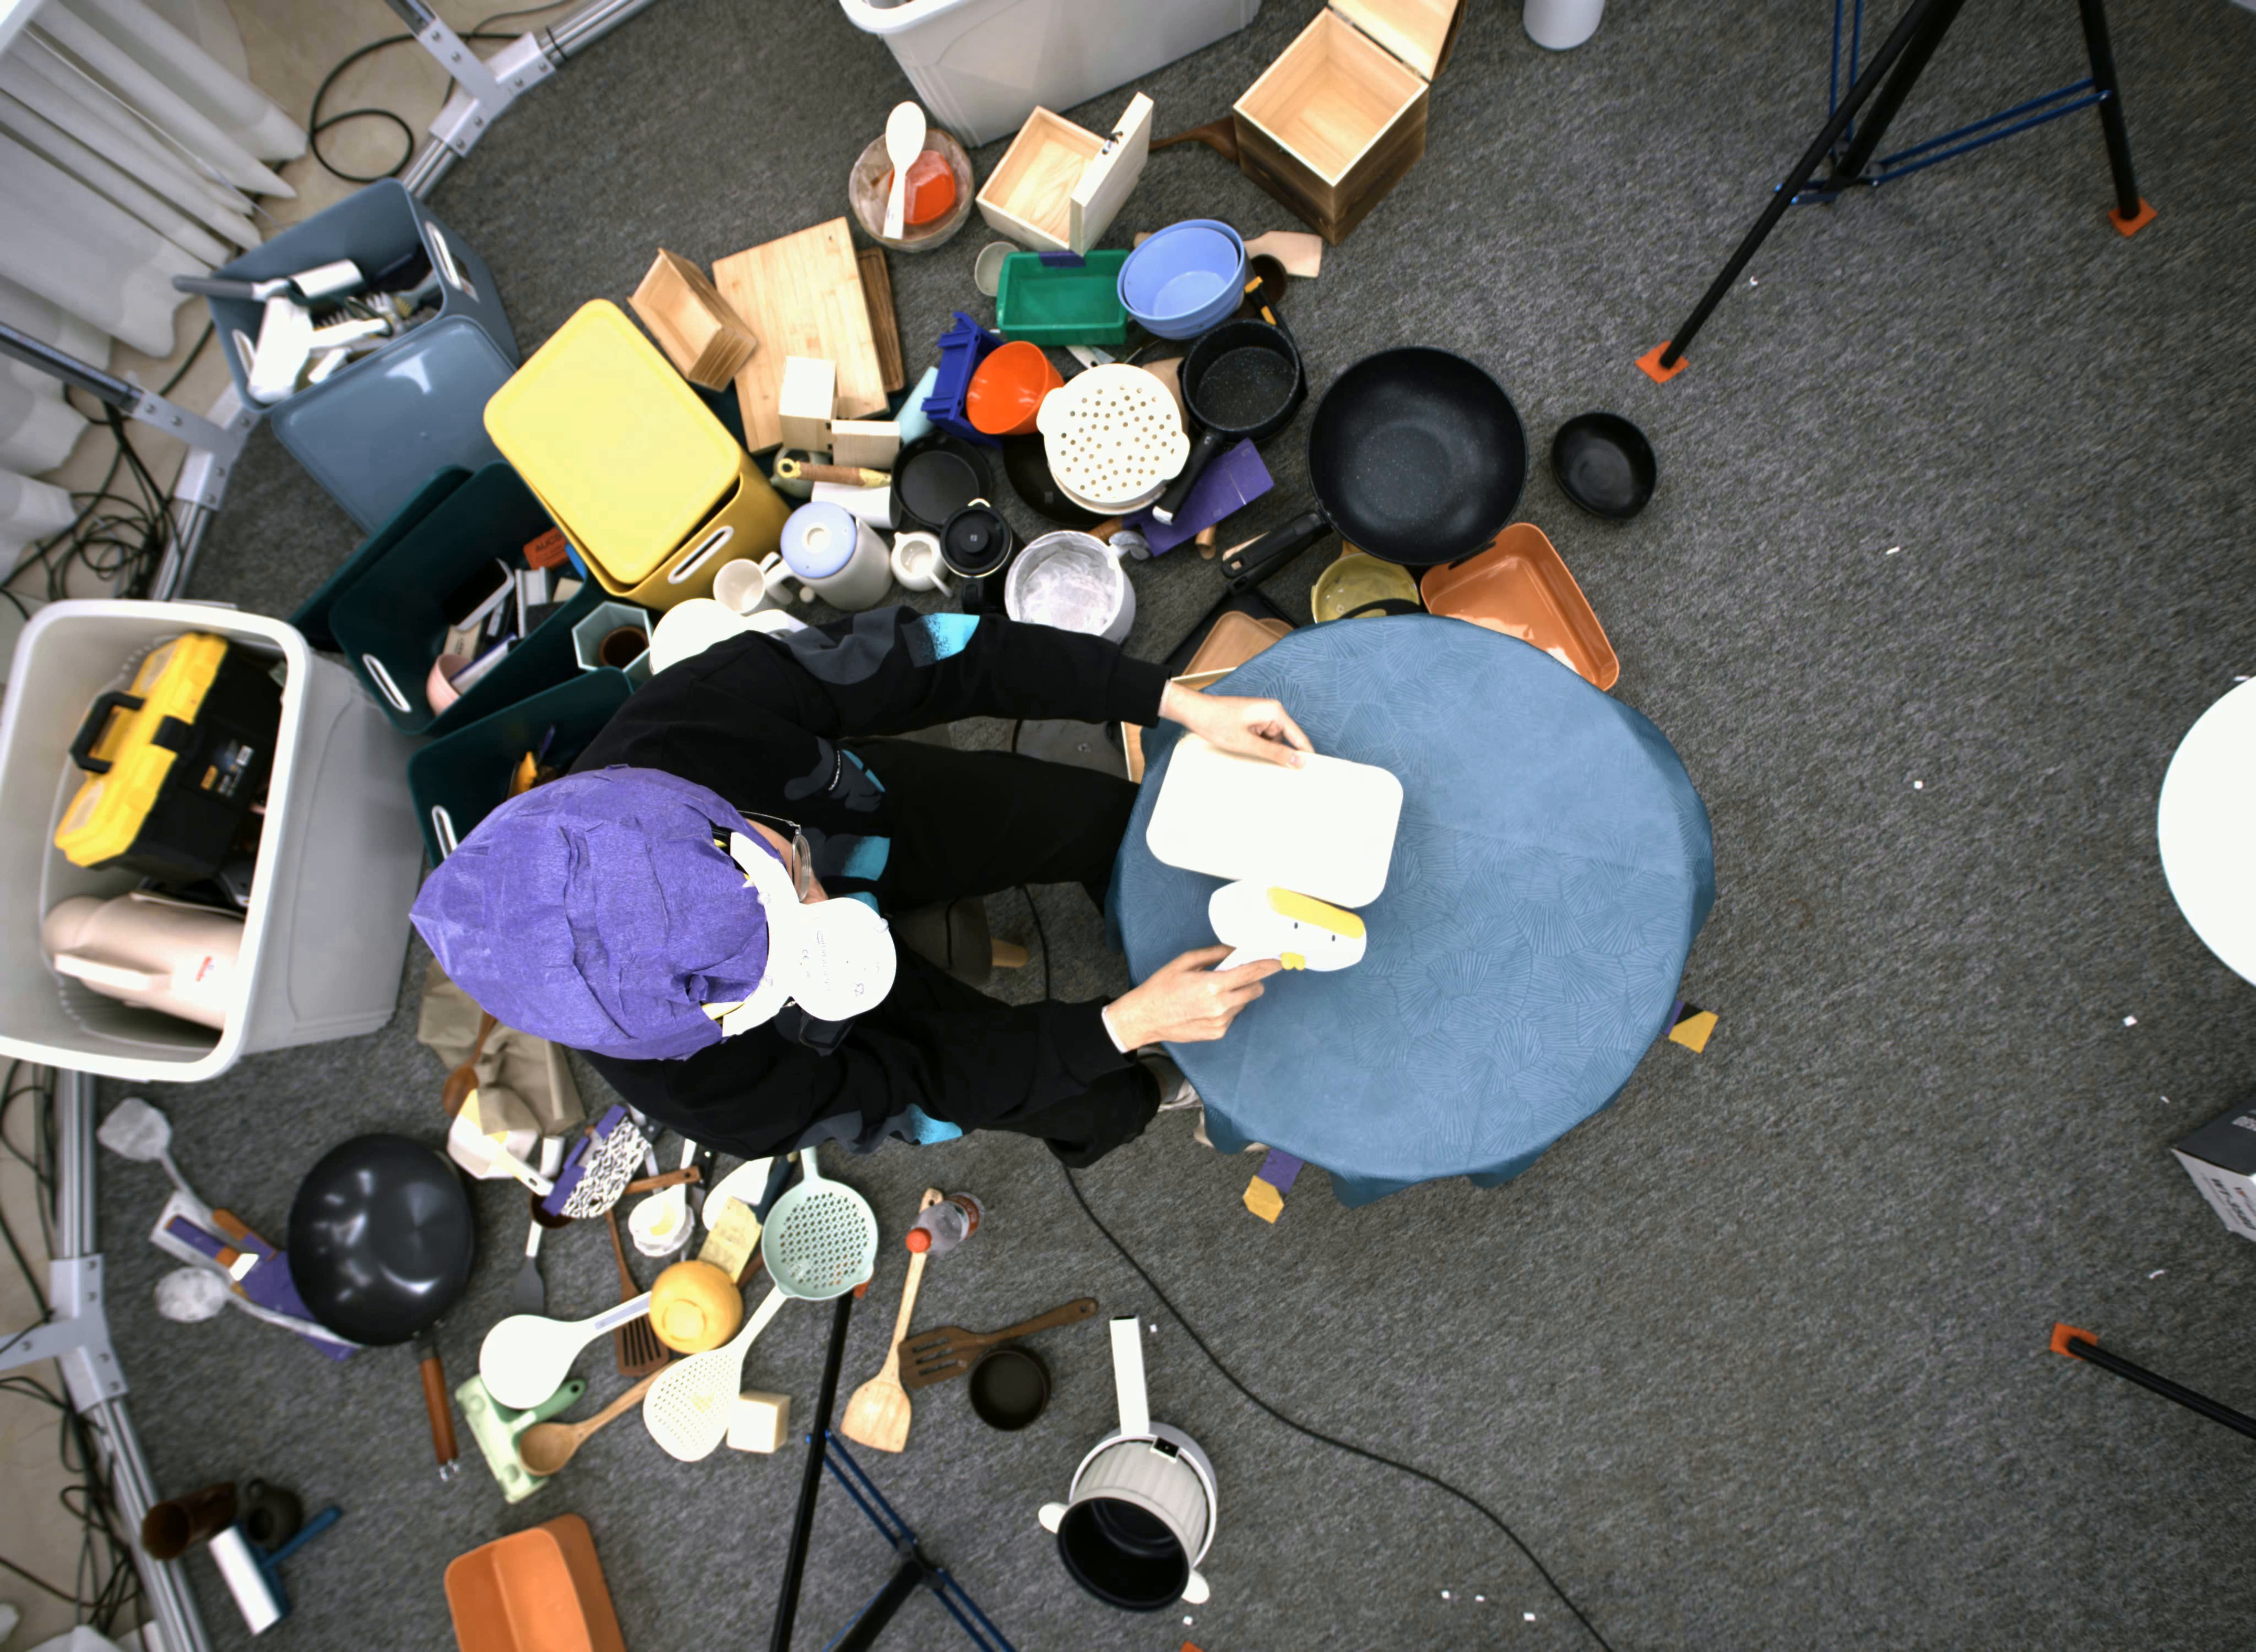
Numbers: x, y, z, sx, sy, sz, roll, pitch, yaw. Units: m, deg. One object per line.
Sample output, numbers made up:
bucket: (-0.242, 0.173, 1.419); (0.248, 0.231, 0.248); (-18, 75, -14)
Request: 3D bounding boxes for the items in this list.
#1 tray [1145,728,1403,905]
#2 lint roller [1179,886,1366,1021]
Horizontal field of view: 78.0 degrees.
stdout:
tray: (0.147, -0.011, 1.384); (0.240, 0.018, 0.167); (13, 60, 9)
lint roller: (0.116, 0.130, 1.364); (0.196, 0.192, 0.073); (-36, 57, 40)
